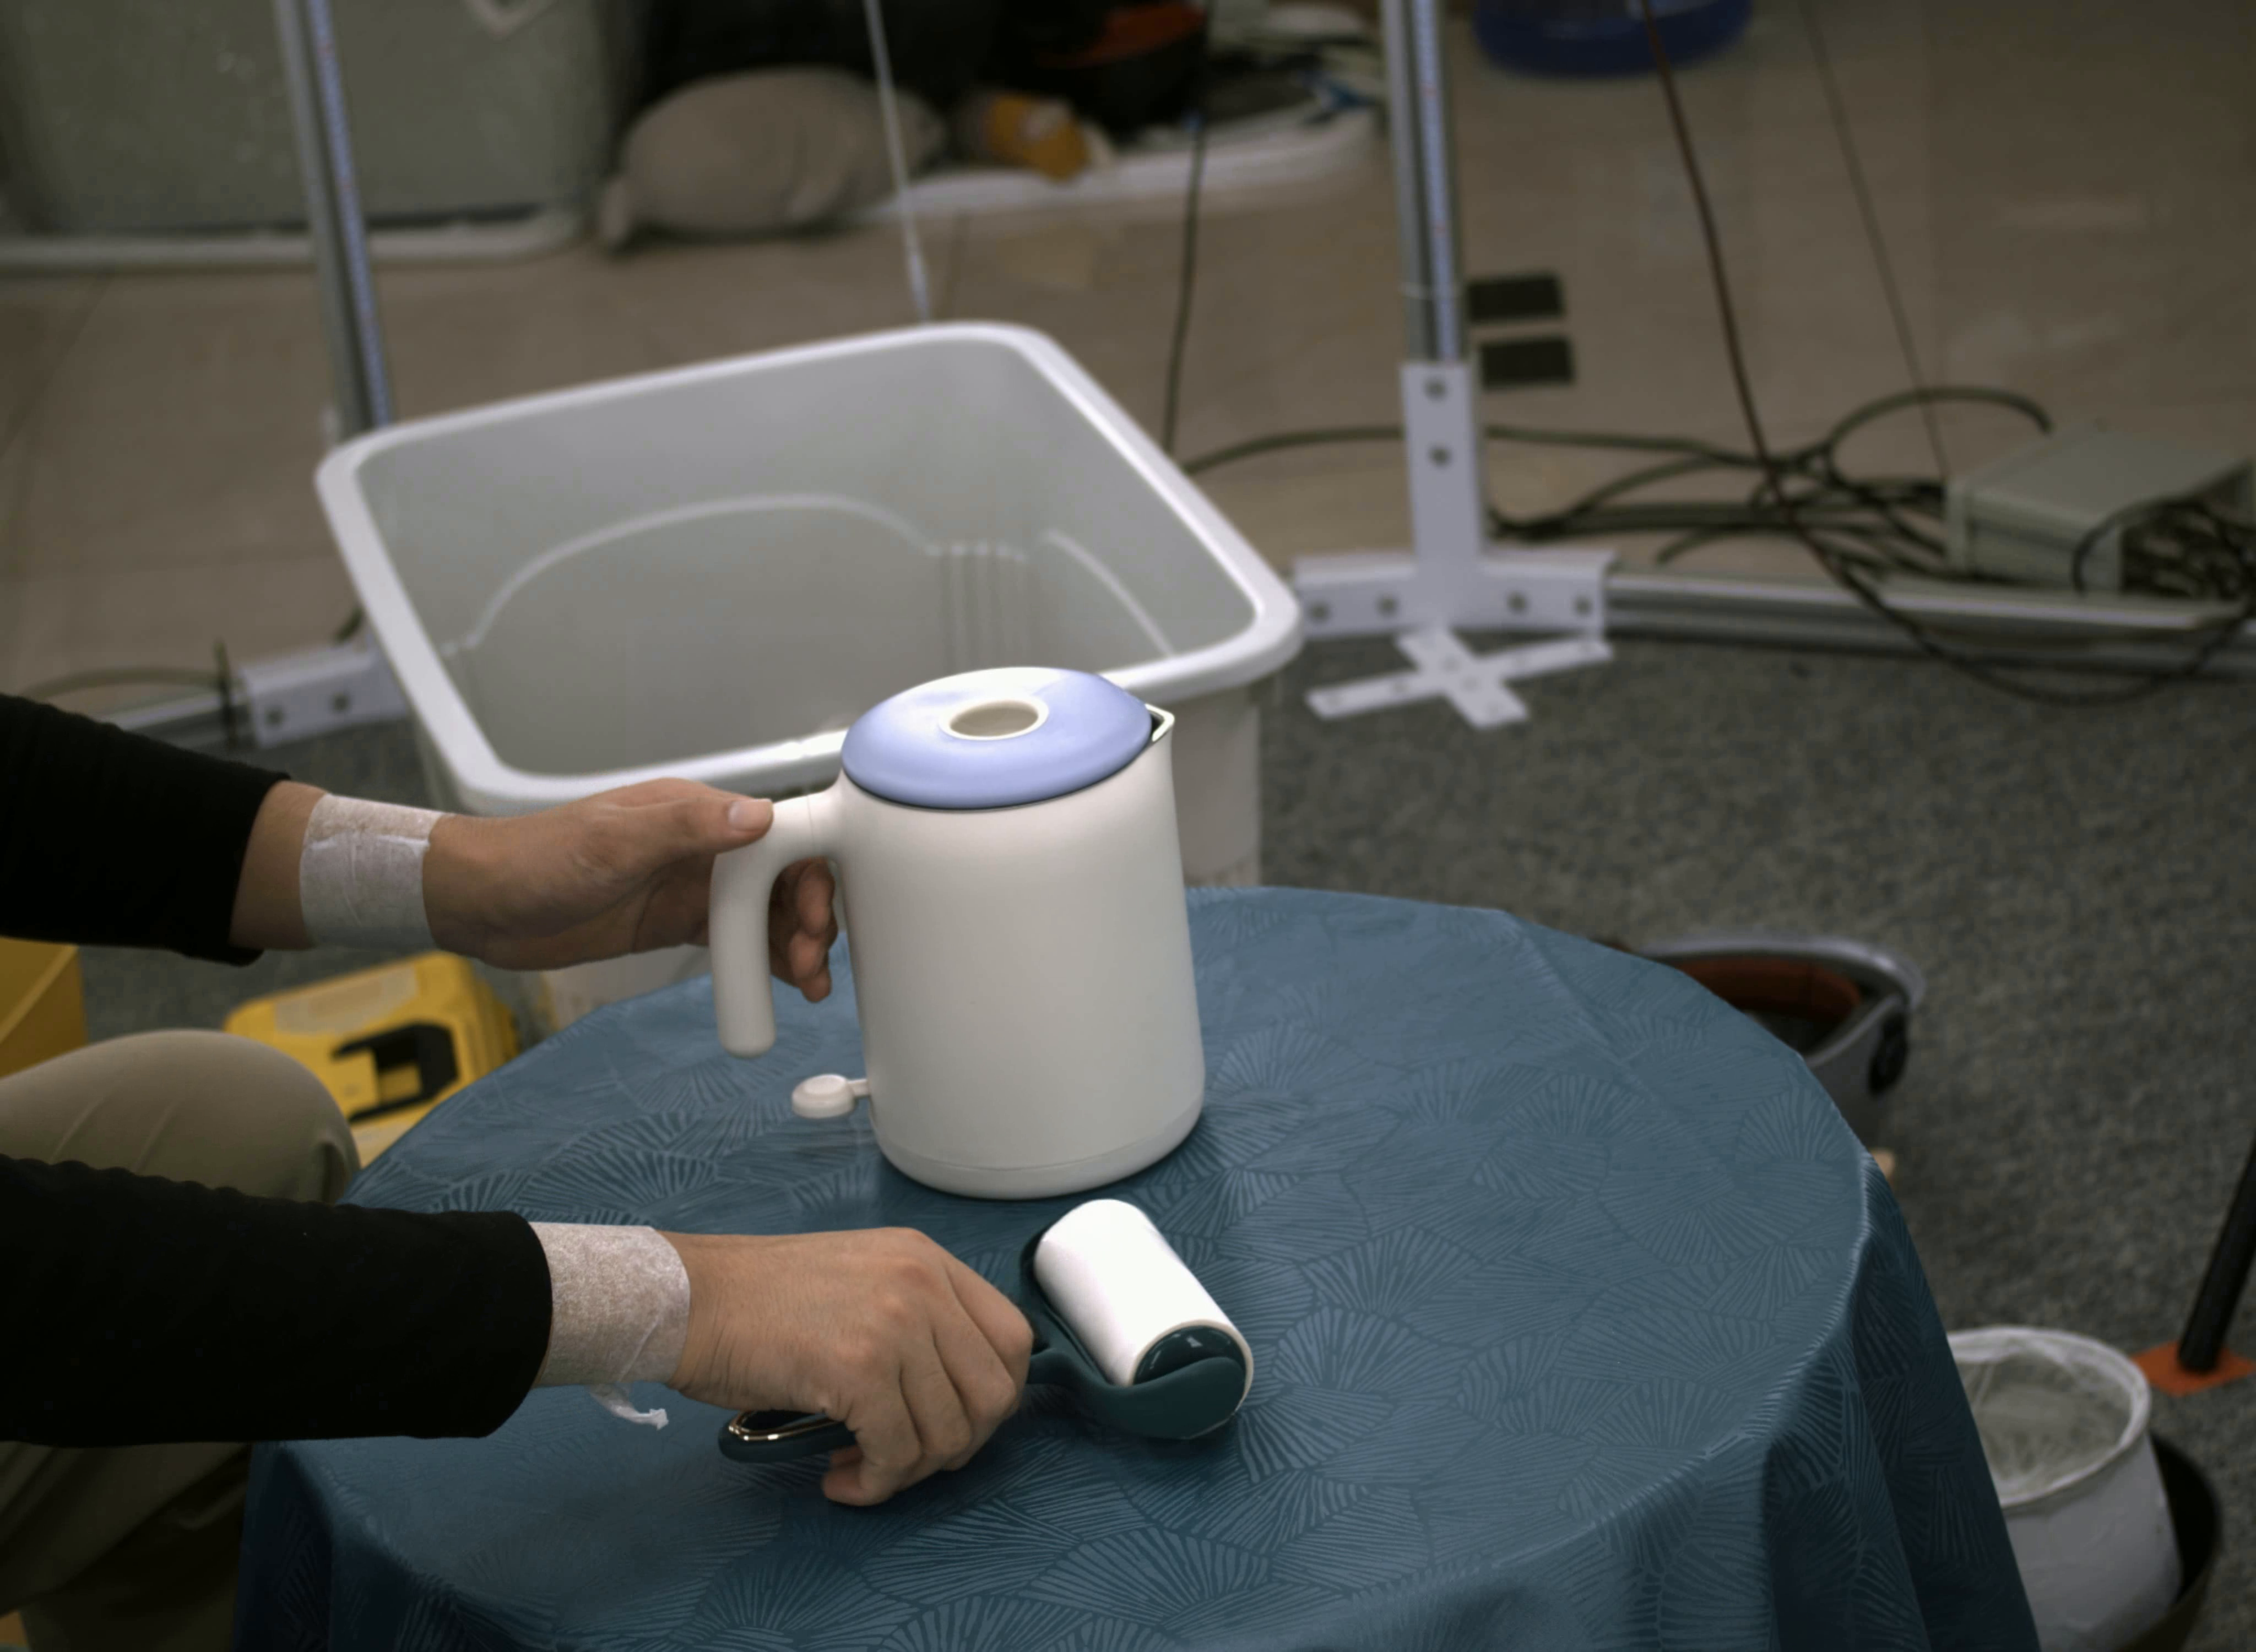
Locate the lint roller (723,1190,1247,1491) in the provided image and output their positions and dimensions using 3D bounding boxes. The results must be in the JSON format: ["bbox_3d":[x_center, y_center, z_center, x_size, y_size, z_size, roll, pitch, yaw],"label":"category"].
[{"bbox_3d":[-0.058,0.189,1.996,0.179,0.049,0.132,-13,26,-14],"label":"lint roller"}]

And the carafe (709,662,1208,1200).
[{"bbox_3d":[-0.066,0.044,2.161,0.190,0.185,0.130,-11,25,-5],"label":"carafe"}]
